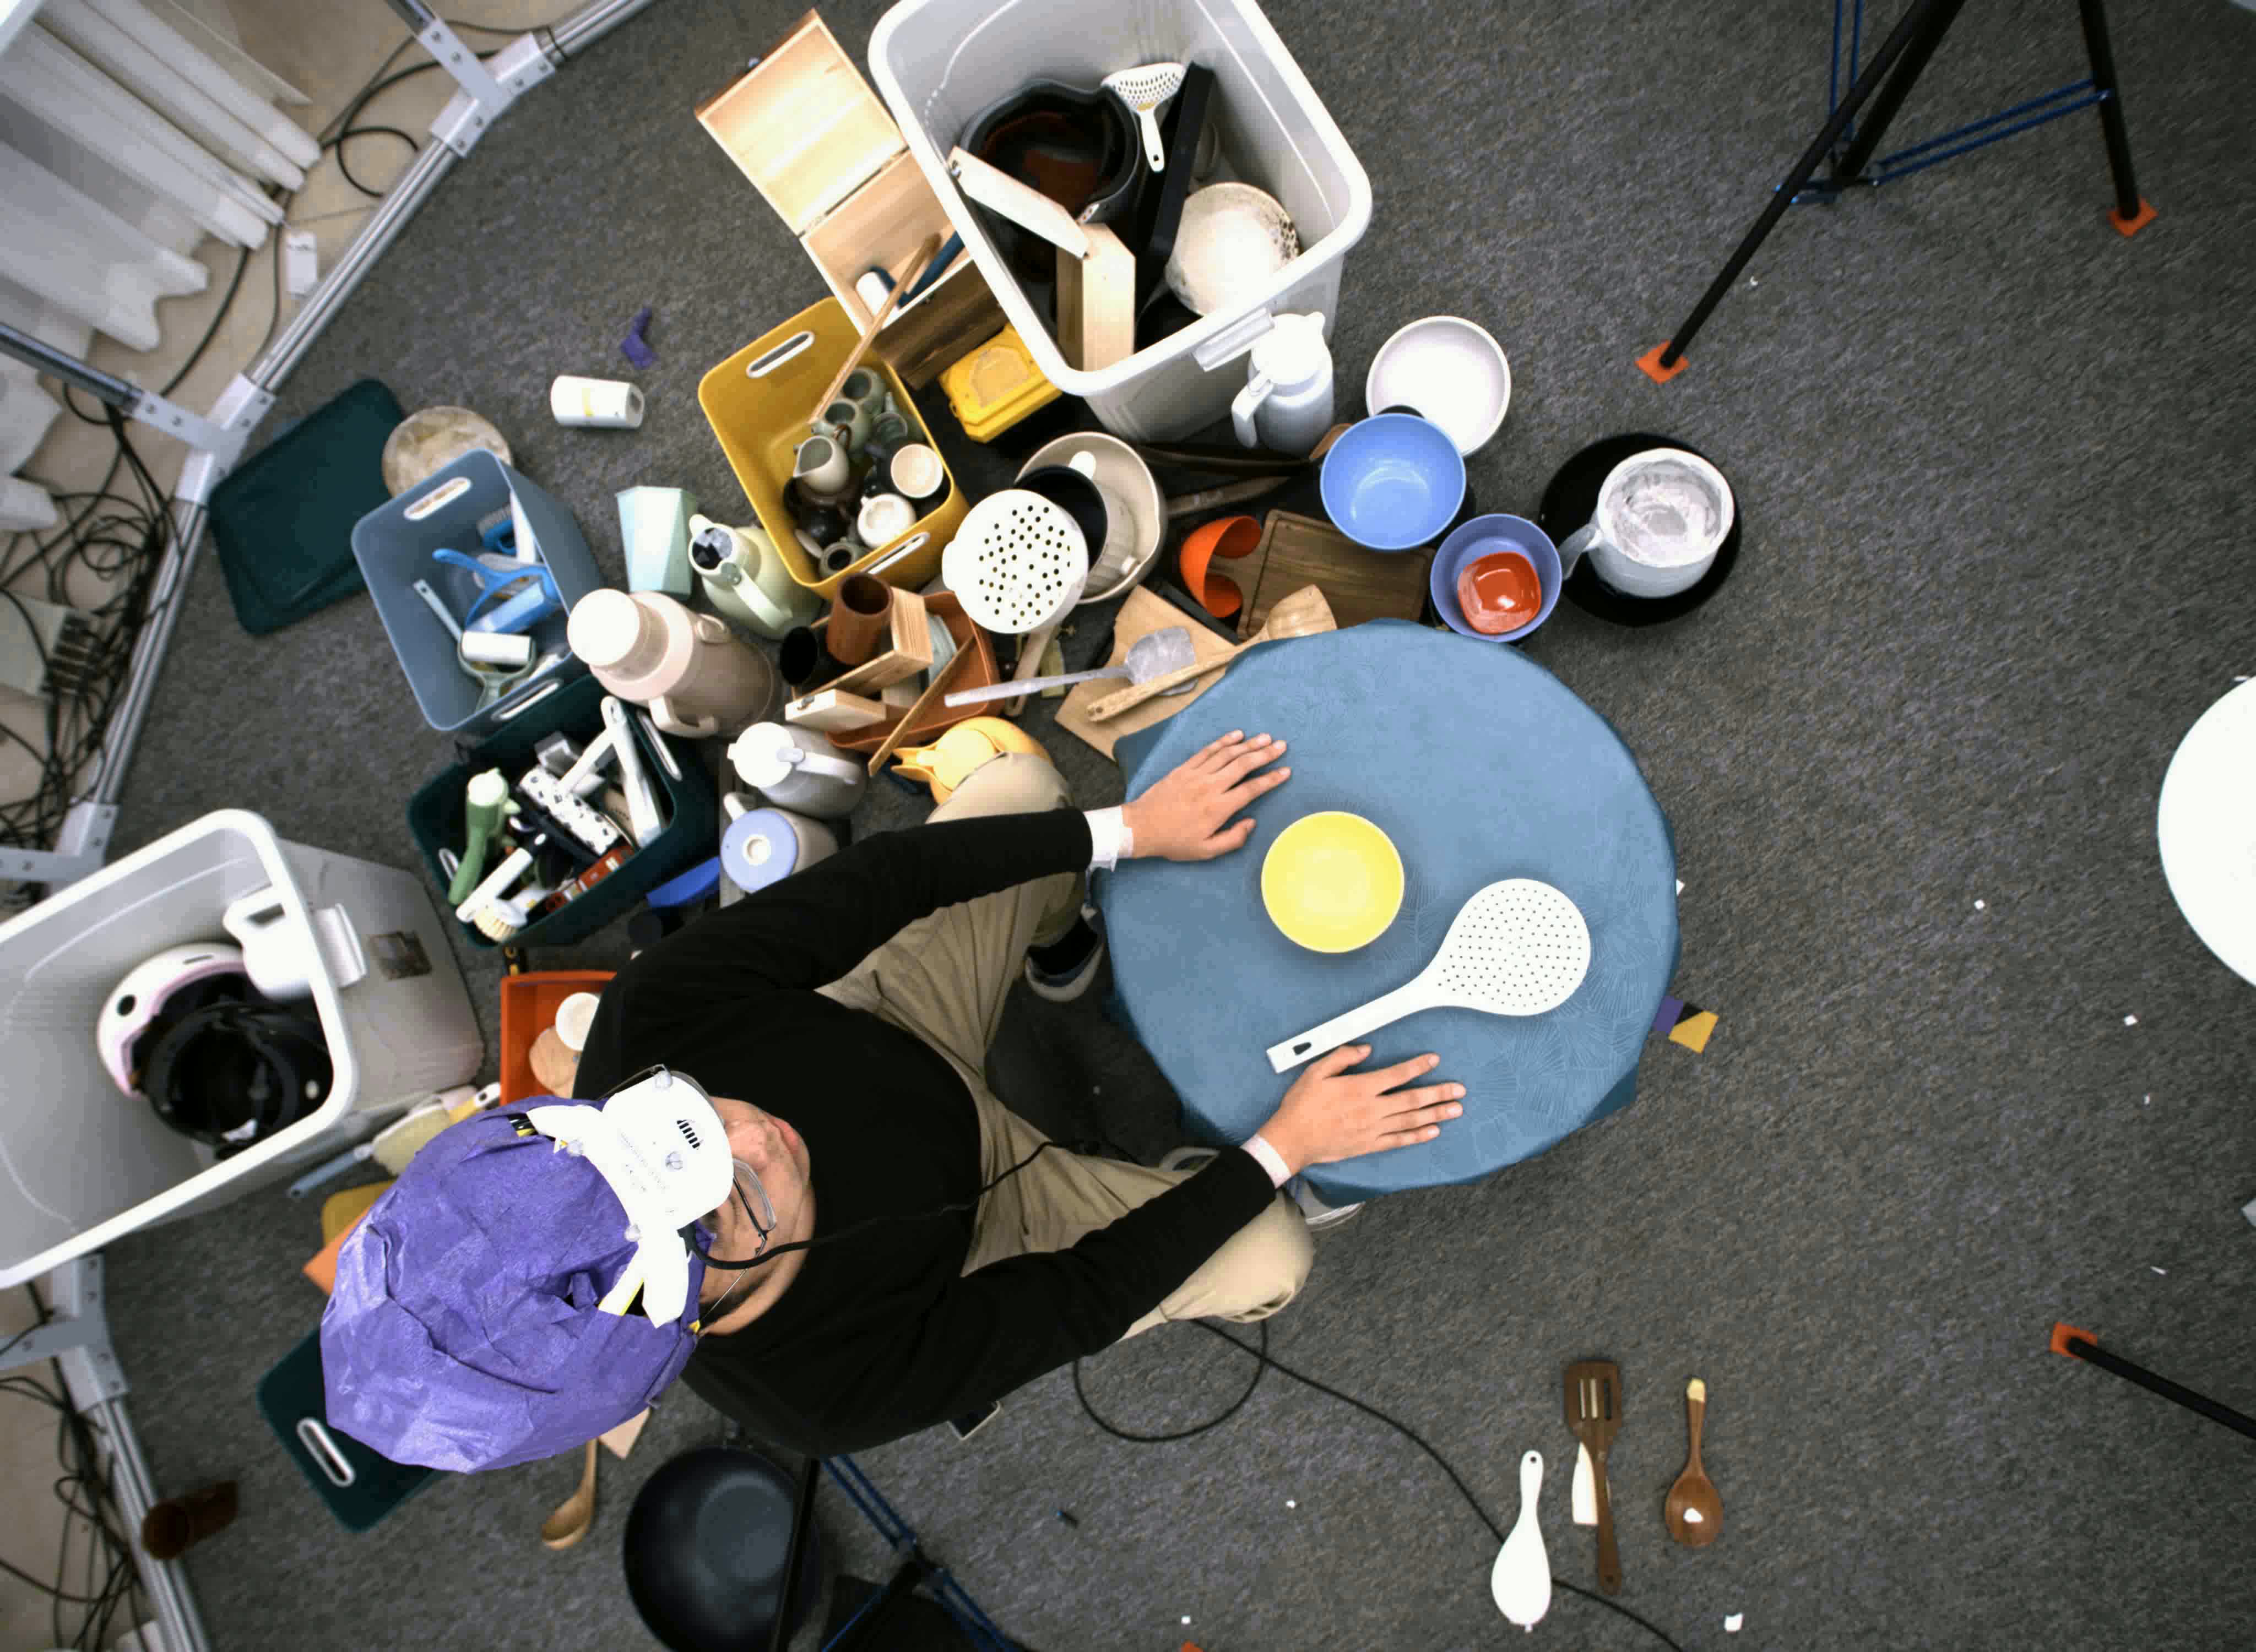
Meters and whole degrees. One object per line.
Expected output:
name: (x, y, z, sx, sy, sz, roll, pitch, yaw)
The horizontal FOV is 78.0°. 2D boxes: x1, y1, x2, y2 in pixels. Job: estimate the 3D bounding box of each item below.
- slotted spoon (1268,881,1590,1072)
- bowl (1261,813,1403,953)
slotted spoon: (0.305, 0.171, 1.425, 0.352, 0.046, 0.135, -27, 82, 9)
bowl: (0.212, 0.061, 1.443, 0.146, 0.060, 0.144, -1, 85, 9)
